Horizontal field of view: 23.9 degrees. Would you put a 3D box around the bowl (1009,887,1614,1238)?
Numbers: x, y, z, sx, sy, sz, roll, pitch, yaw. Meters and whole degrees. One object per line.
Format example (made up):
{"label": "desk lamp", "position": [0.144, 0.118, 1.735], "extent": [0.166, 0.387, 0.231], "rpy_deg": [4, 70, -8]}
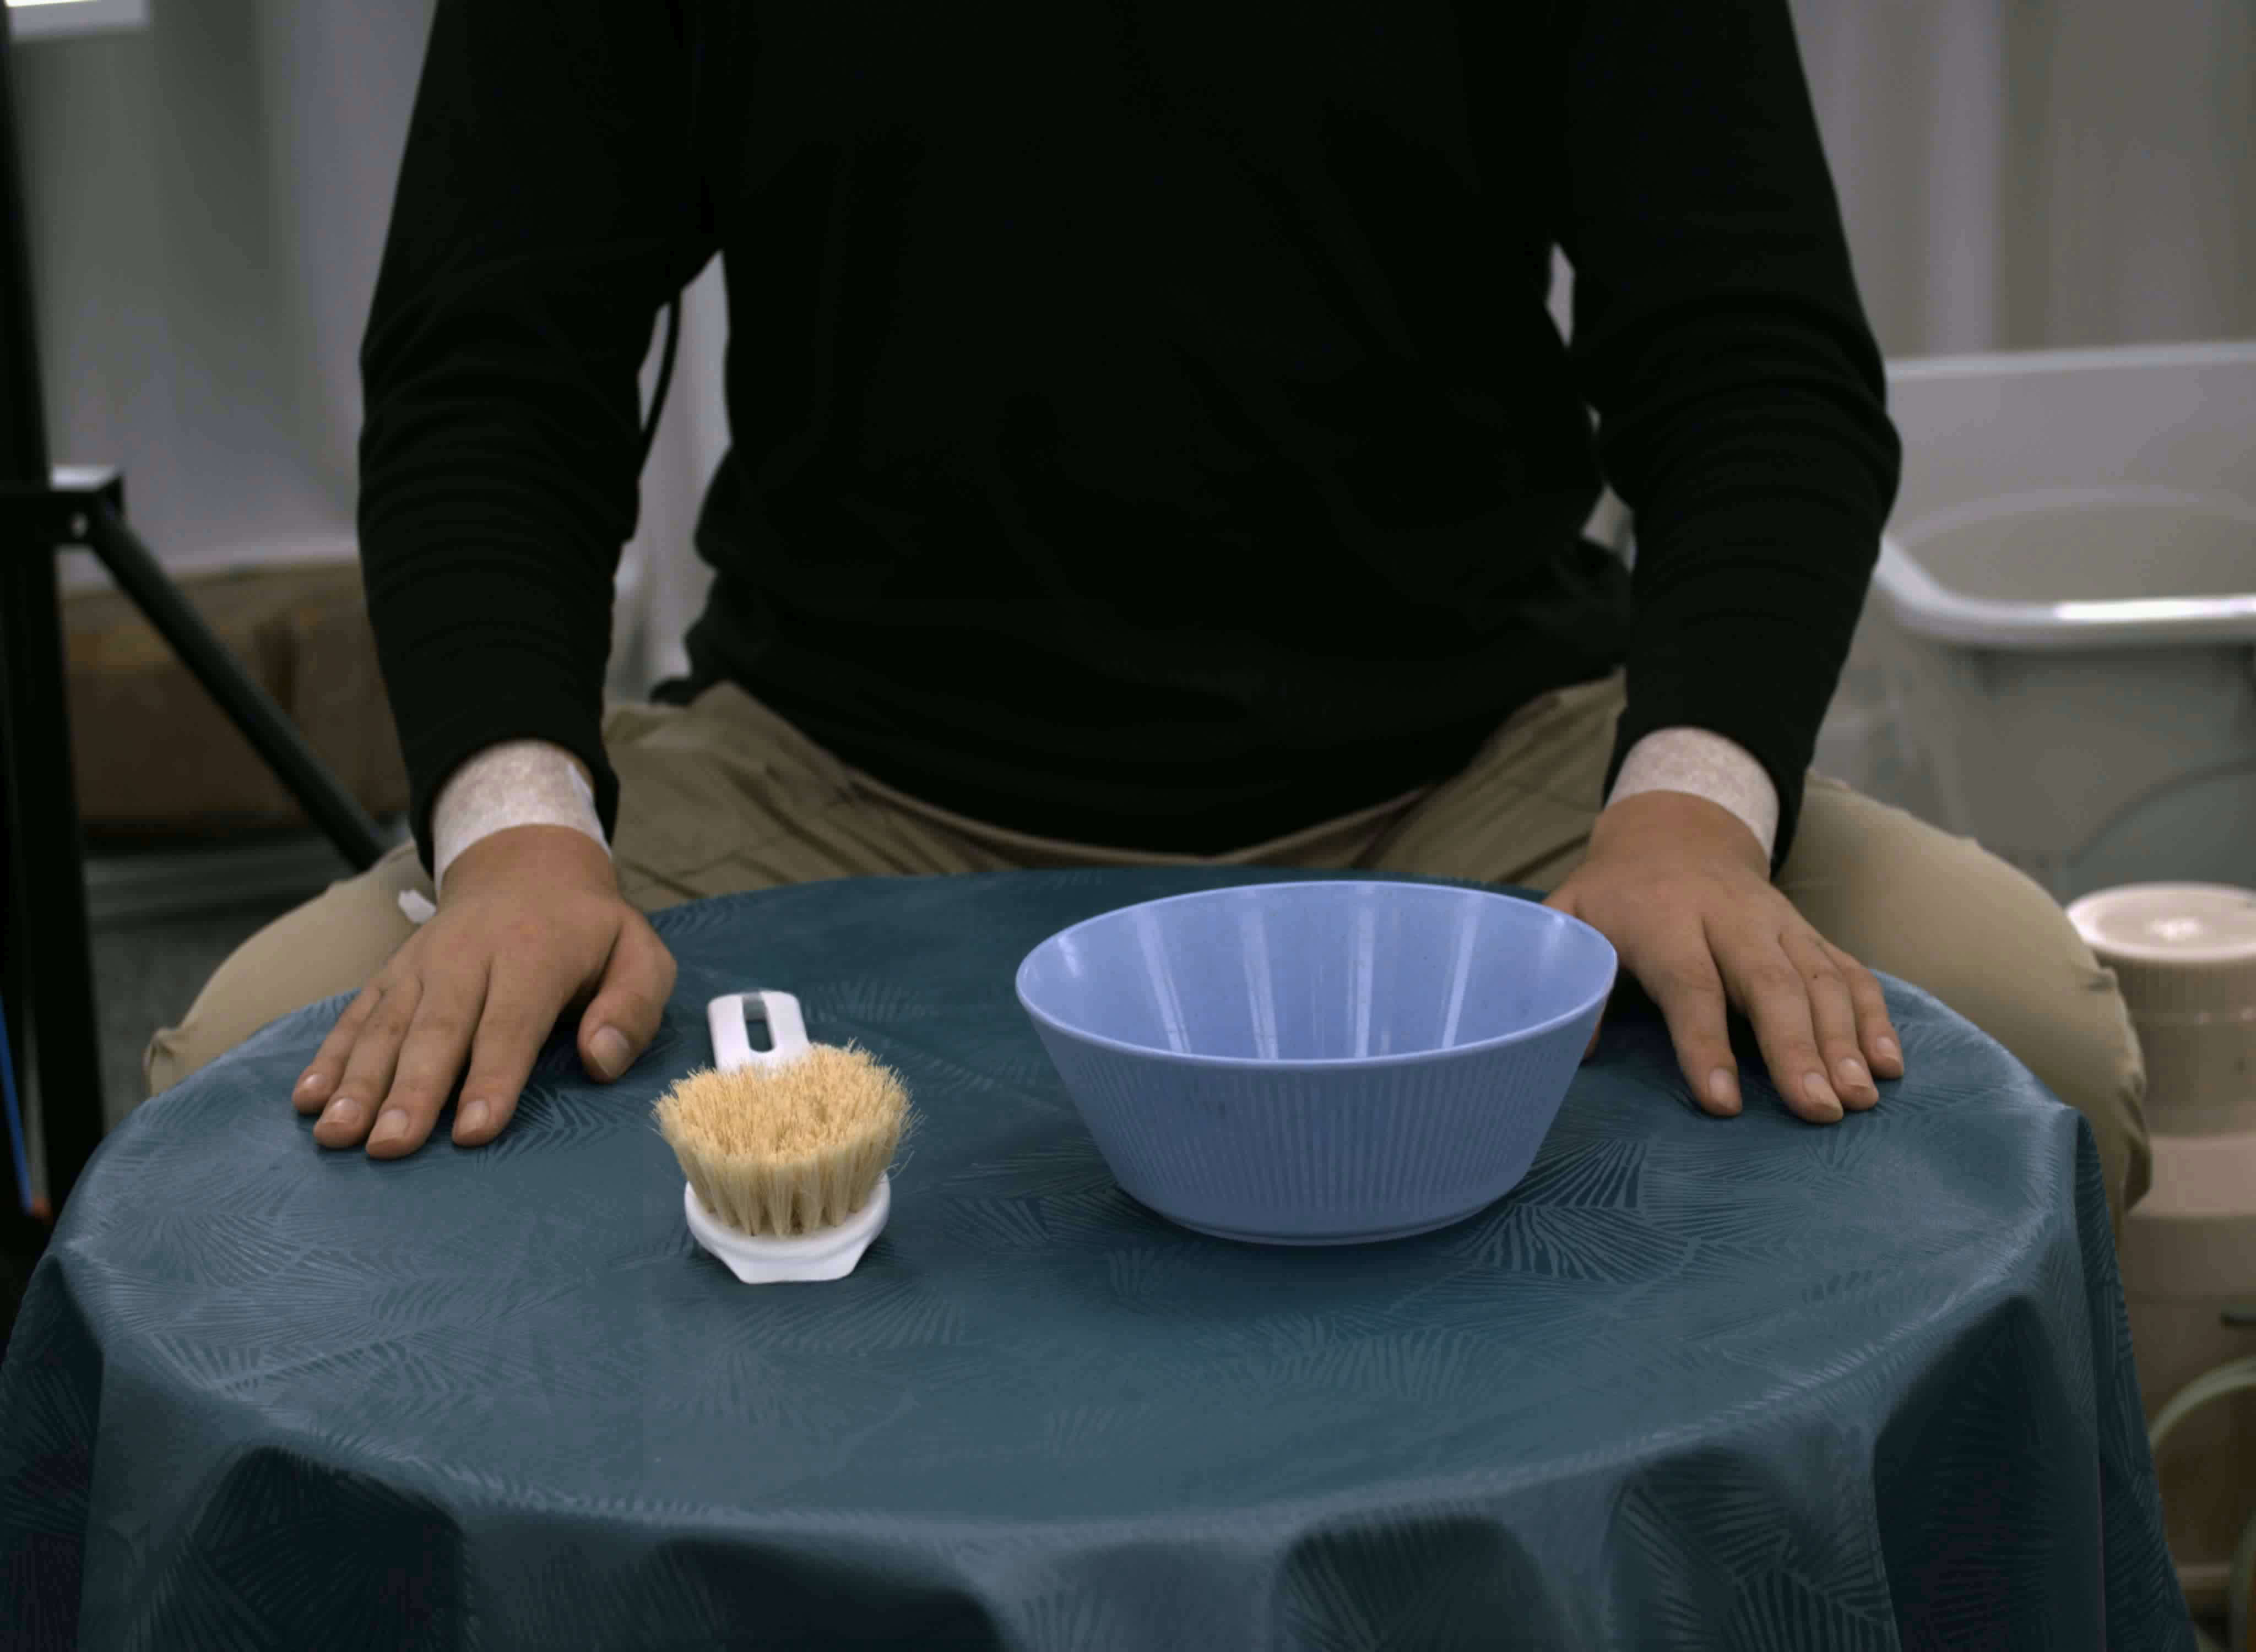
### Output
{"label": "bowl", "position": [0.054, 0.071, 1.547], "extent": [0.175, 0.070, 0.177], "rpy_deg": [-2, 15, -1]}

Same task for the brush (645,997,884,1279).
{"label": "brush", "position": [-0.114, 0.070, 1.614], "extent": [0.068, 0.056, 0.268], "rpy_deg": [1, 14, -6]}
